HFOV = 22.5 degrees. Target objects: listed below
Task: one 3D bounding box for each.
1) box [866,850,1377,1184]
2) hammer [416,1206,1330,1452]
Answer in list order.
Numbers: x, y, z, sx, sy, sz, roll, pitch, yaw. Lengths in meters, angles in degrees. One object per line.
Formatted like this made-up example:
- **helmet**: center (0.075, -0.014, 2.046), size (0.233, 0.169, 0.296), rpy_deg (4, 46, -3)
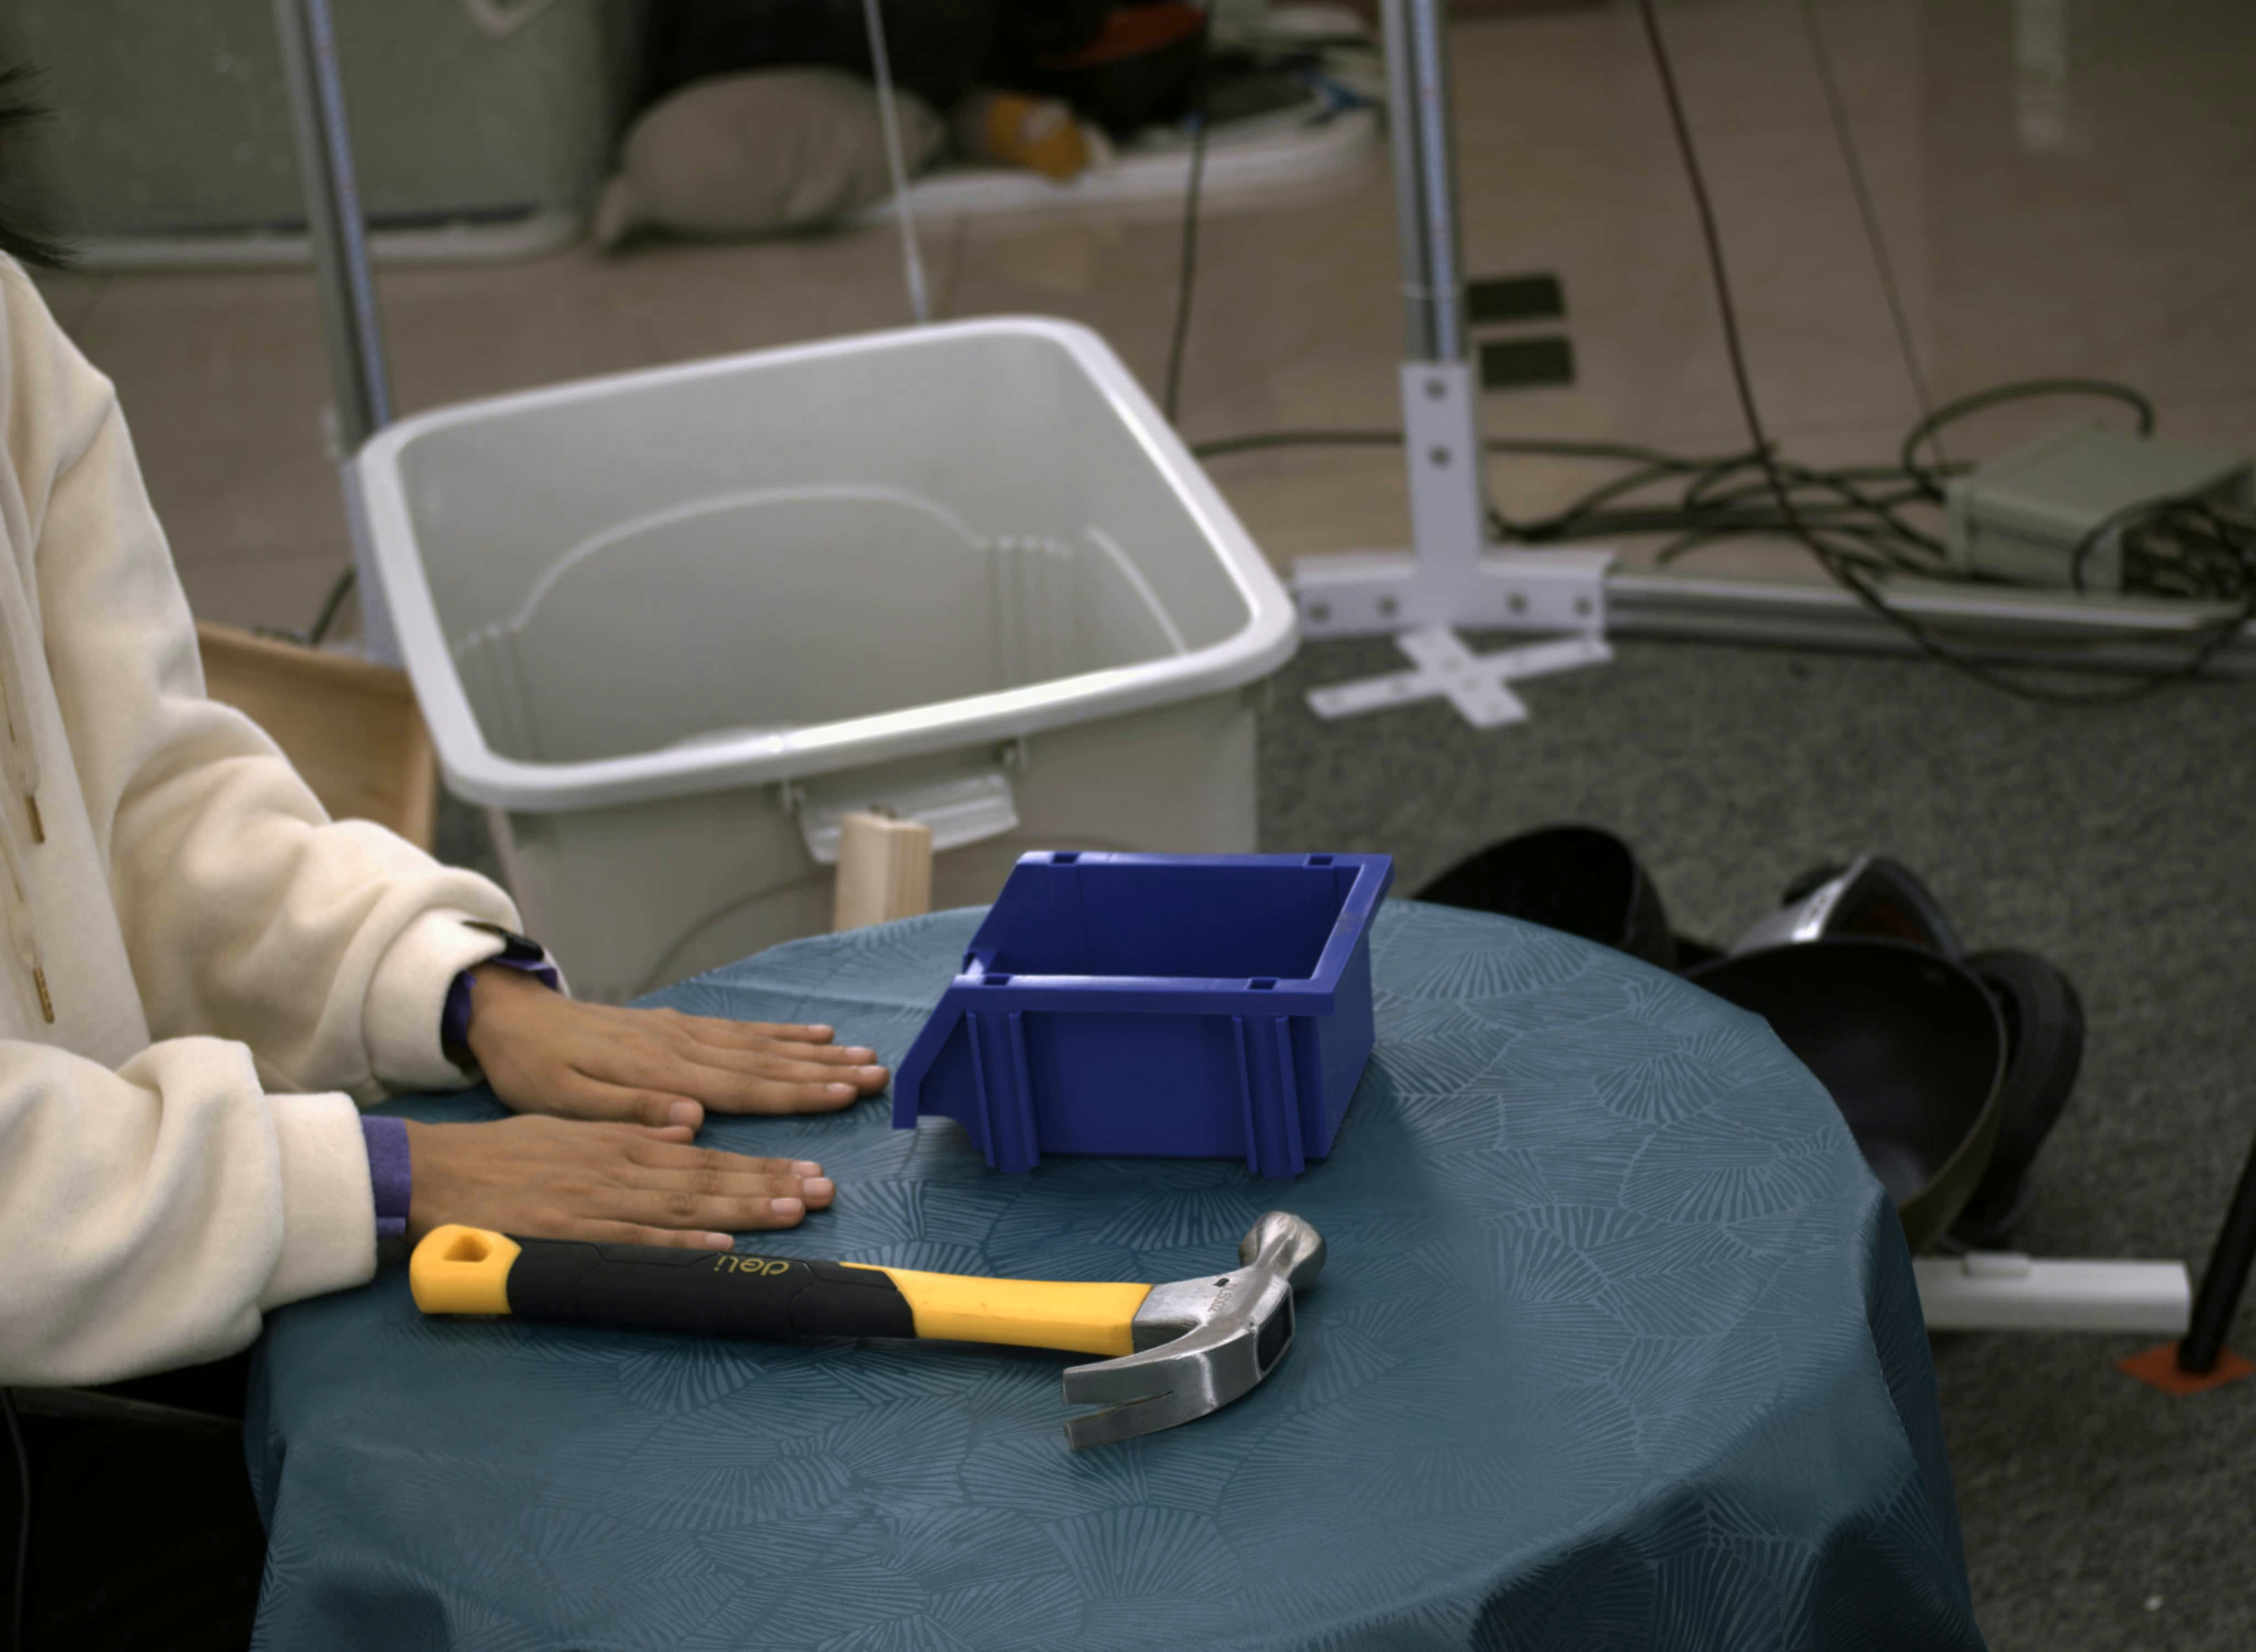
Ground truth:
- **box**: center (-0.002, 0.072, 2.195), size (0.179, 0.083, 0.123), rpy_deg (3, 27, 15)
- **hammer**: center (-0.105, 0.170, 2.068), size (0.337, 0.033, 0.129), rpy_deg (4, 28, 20)
